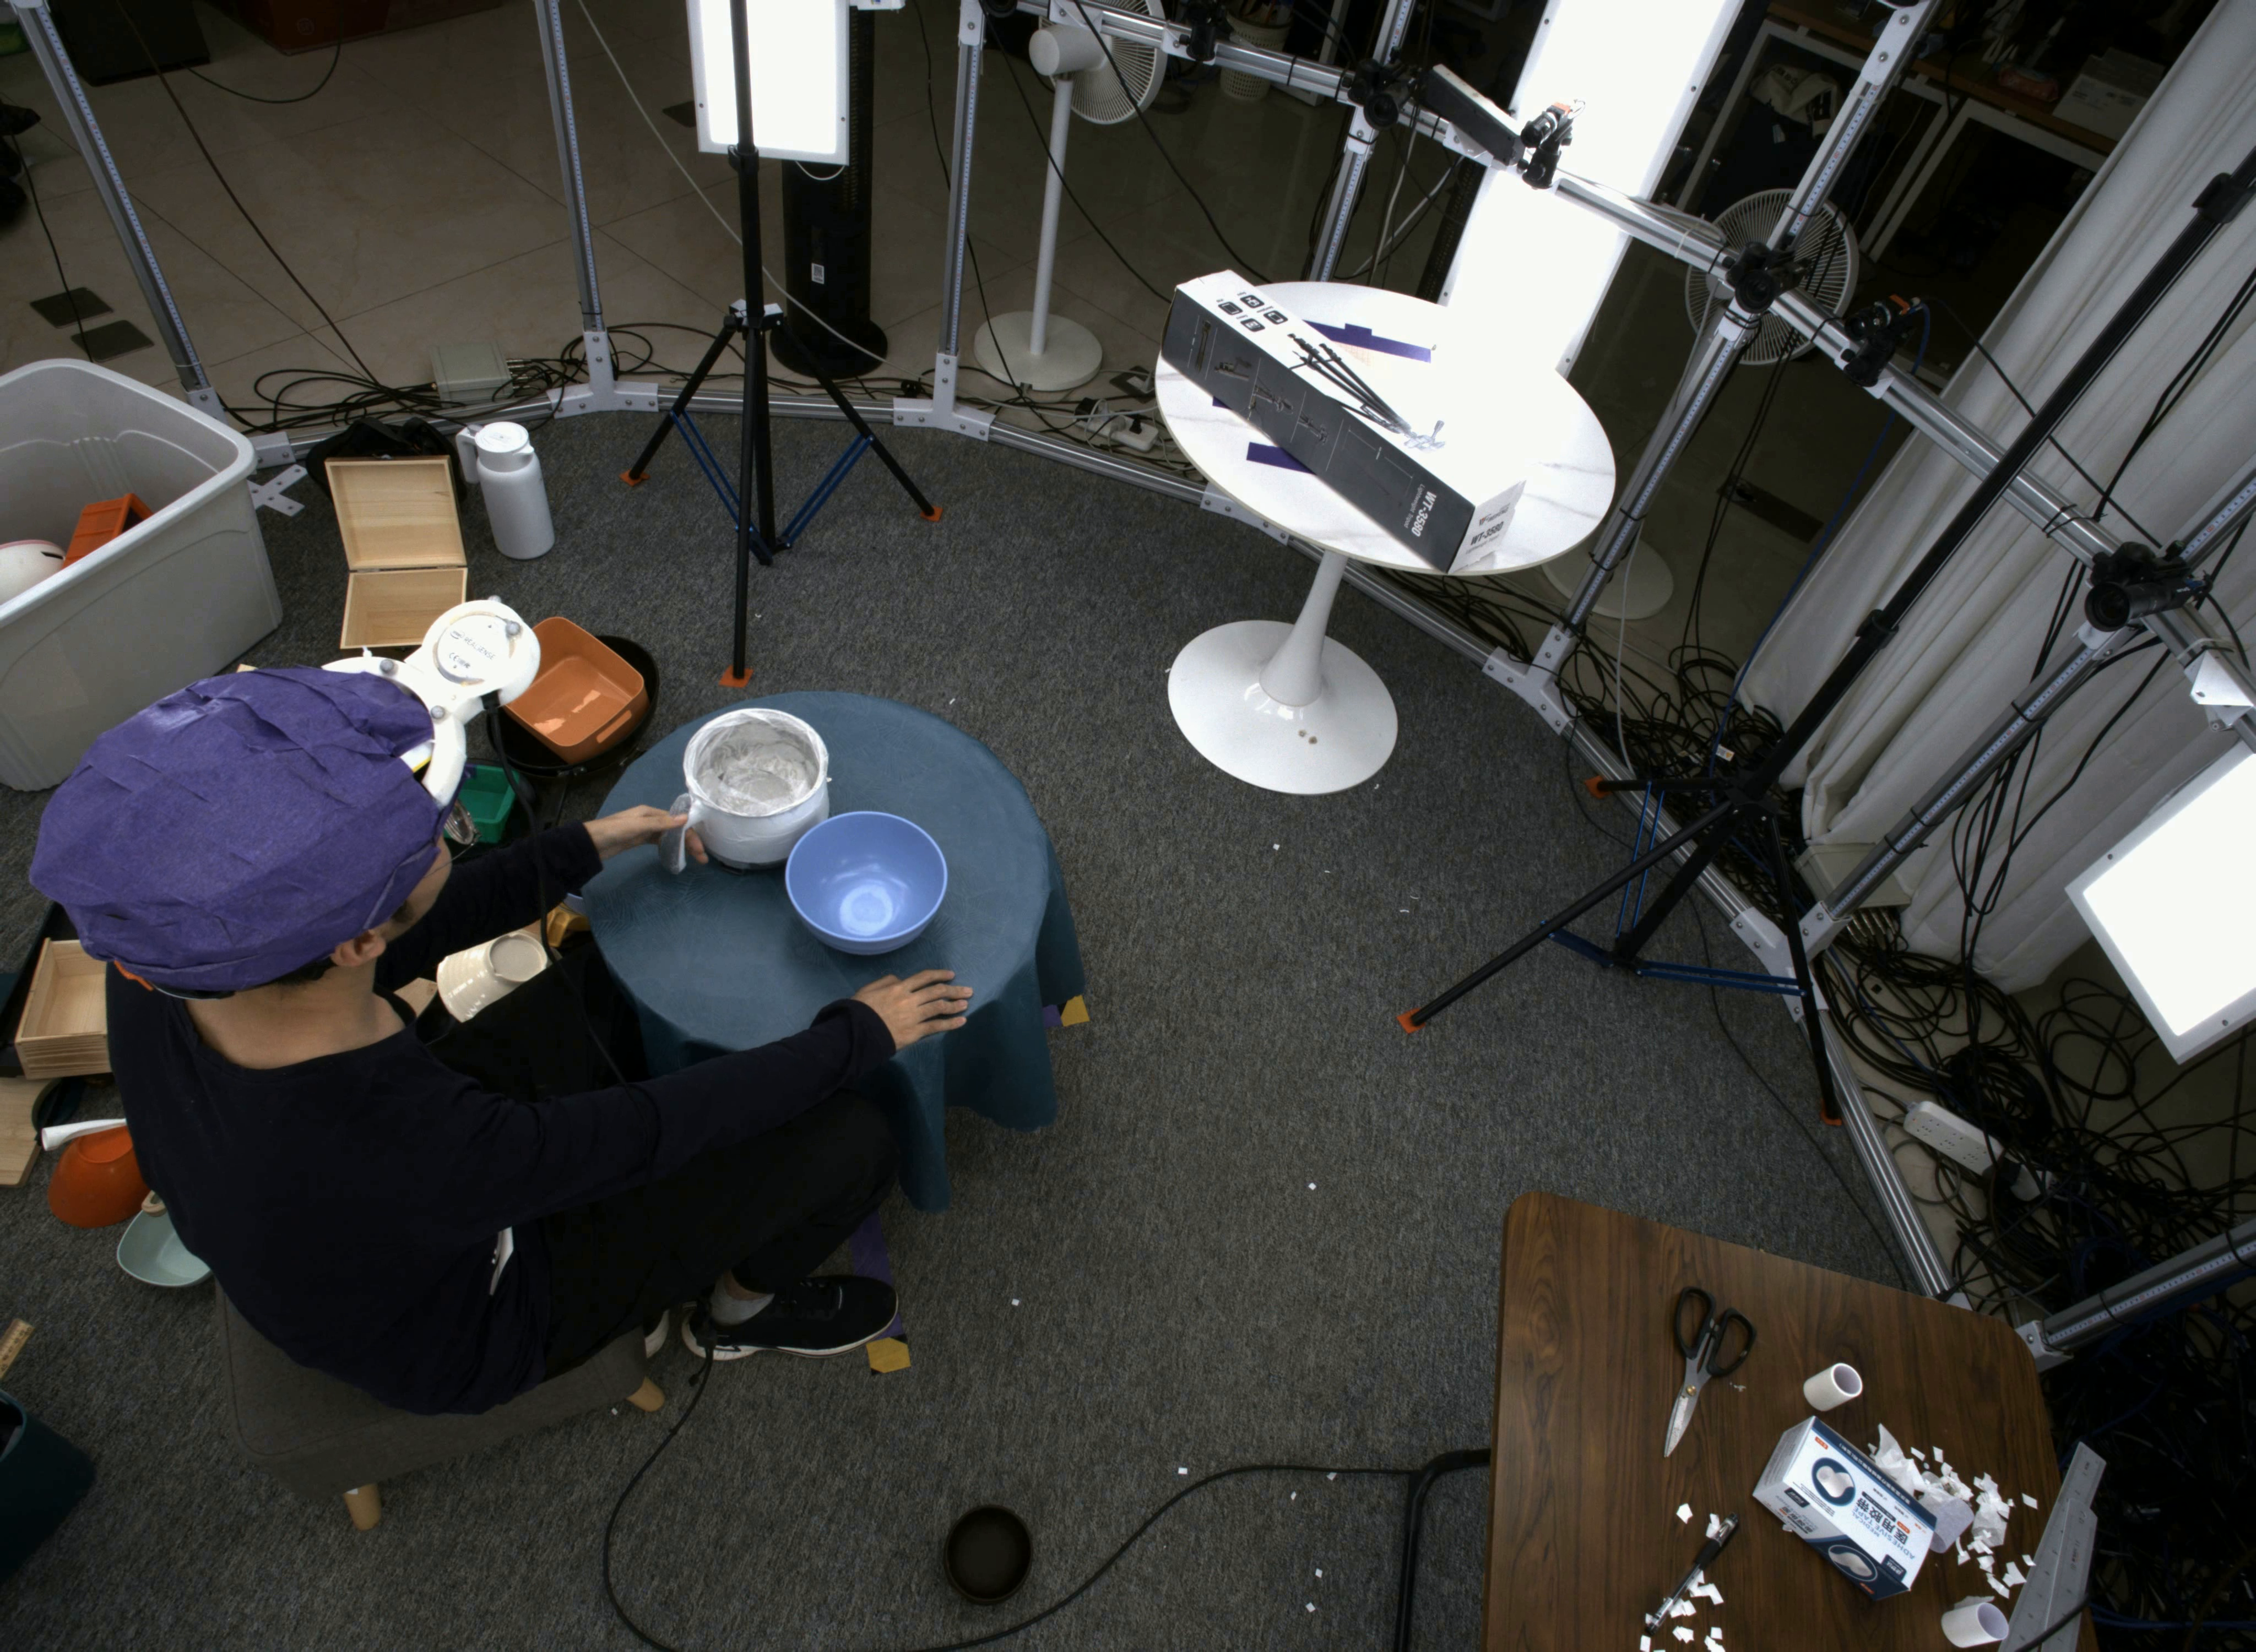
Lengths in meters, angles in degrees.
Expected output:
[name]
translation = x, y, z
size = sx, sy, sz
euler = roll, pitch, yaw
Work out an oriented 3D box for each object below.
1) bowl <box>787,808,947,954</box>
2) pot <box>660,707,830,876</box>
[bowl]
translation = -0.329, 0.083, 1.634
size = 0.196, 0.097, 0.193
euler = 9, 51, -10
[pot]
translation = -0.495, -0.031, 1.651
size = 0.174, 0.140, 0.234
euler = 39, 54, 20
